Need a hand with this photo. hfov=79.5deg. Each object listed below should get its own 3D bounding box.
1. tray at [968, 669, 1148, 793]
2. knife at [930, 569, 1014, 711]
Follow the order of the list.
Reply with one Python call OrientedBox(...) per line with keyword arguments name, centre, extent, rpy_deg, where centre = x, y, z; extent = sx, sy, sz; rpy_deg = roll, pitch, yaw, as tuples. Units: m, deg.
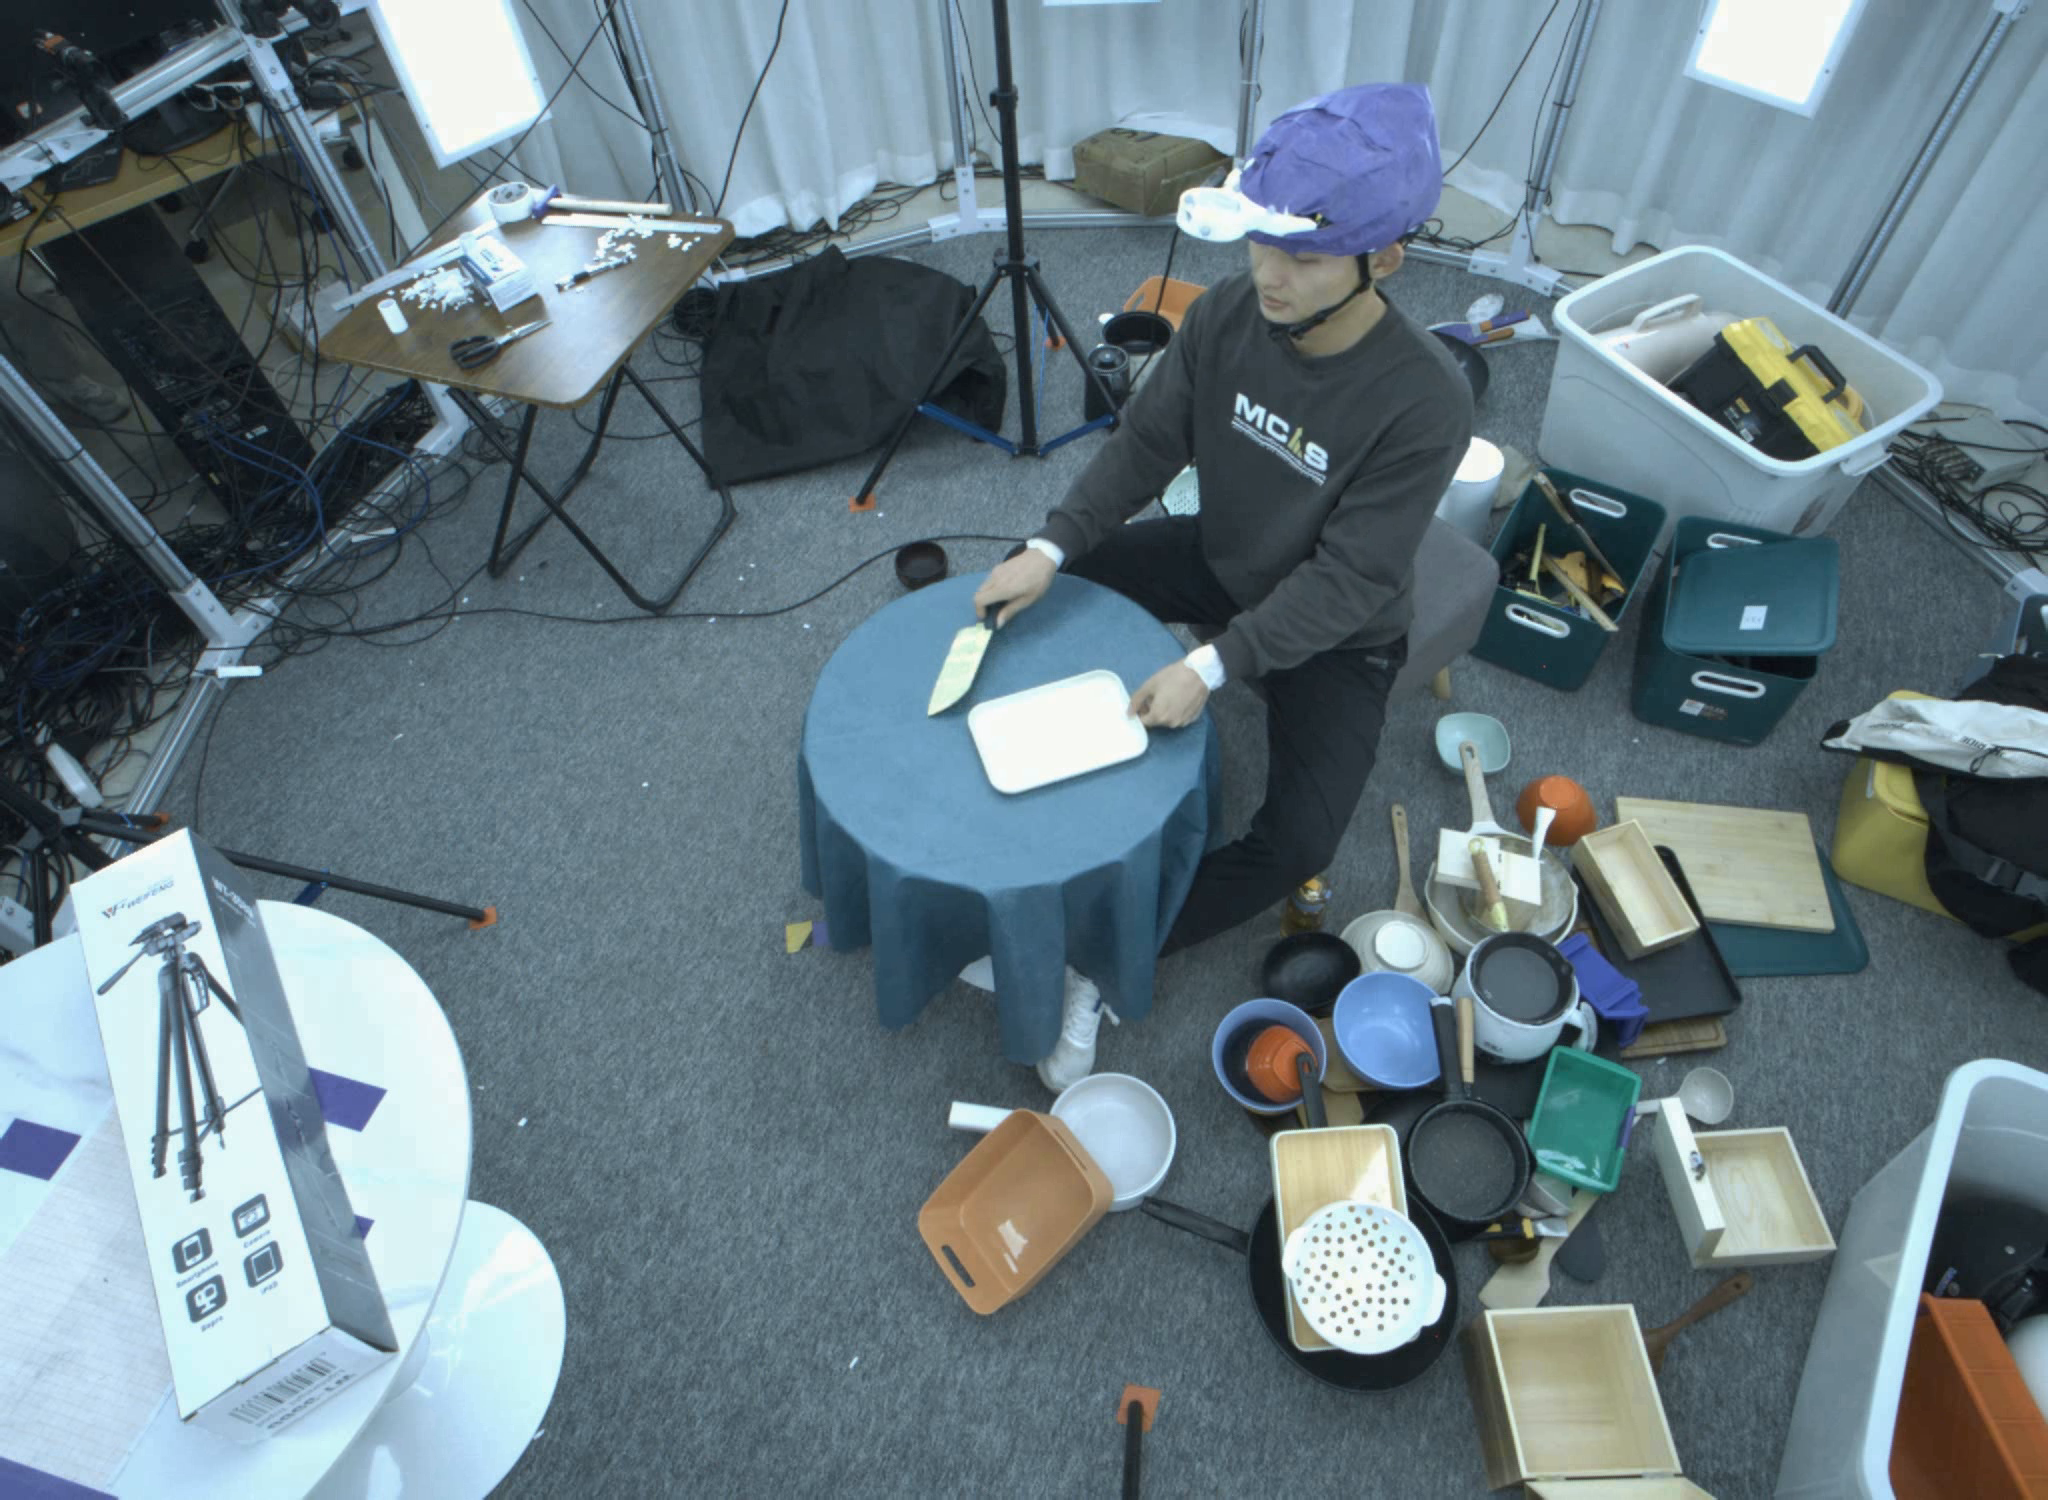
OrientedBox(name="tray", centre=(0.048, -0.028, 1.803), extent=(0.241, 0.017, 0.168), rpy_deg=(-16, 55, -10))
OrientedBox(name="knife", centre=(-0.079, -0.172, 1.896), extent=(0.079, 0.028, 0.289), rpy_deg=(1, 53, 32))
